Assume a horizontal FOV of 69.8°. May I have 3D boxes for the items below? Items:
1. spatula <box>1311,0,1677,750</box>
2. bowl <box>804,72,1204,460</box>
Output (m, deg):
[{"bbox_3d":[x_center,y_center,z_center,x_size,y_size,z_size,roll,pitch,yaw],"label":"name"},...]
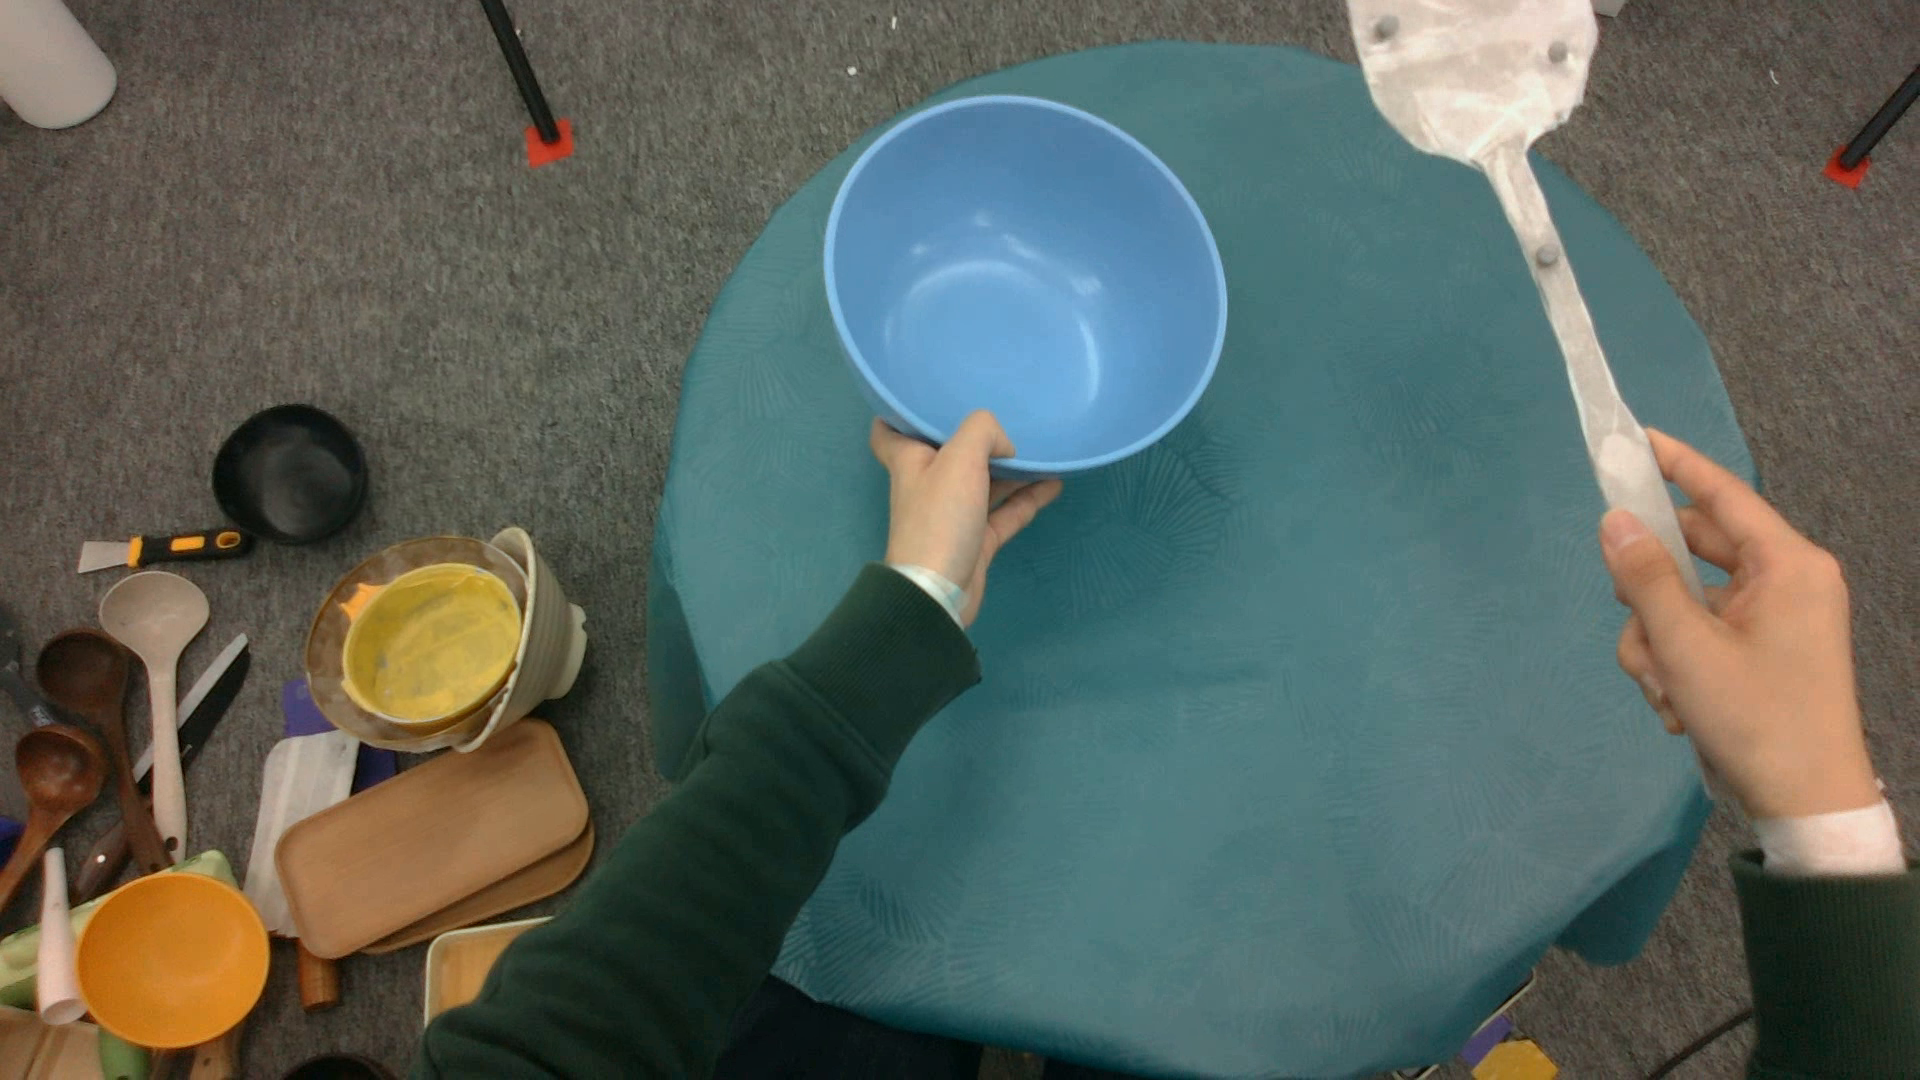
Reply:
[{"bbox_3d":[0.222,-0.101,0.540,0.098,0.044,0.366,-12,67,7],"label":"spatula"},{"bbox_3d":[0.013,-0.121,0.688,0.197,0.095,0.197,5,72,-14],"label":"bowl"}]
